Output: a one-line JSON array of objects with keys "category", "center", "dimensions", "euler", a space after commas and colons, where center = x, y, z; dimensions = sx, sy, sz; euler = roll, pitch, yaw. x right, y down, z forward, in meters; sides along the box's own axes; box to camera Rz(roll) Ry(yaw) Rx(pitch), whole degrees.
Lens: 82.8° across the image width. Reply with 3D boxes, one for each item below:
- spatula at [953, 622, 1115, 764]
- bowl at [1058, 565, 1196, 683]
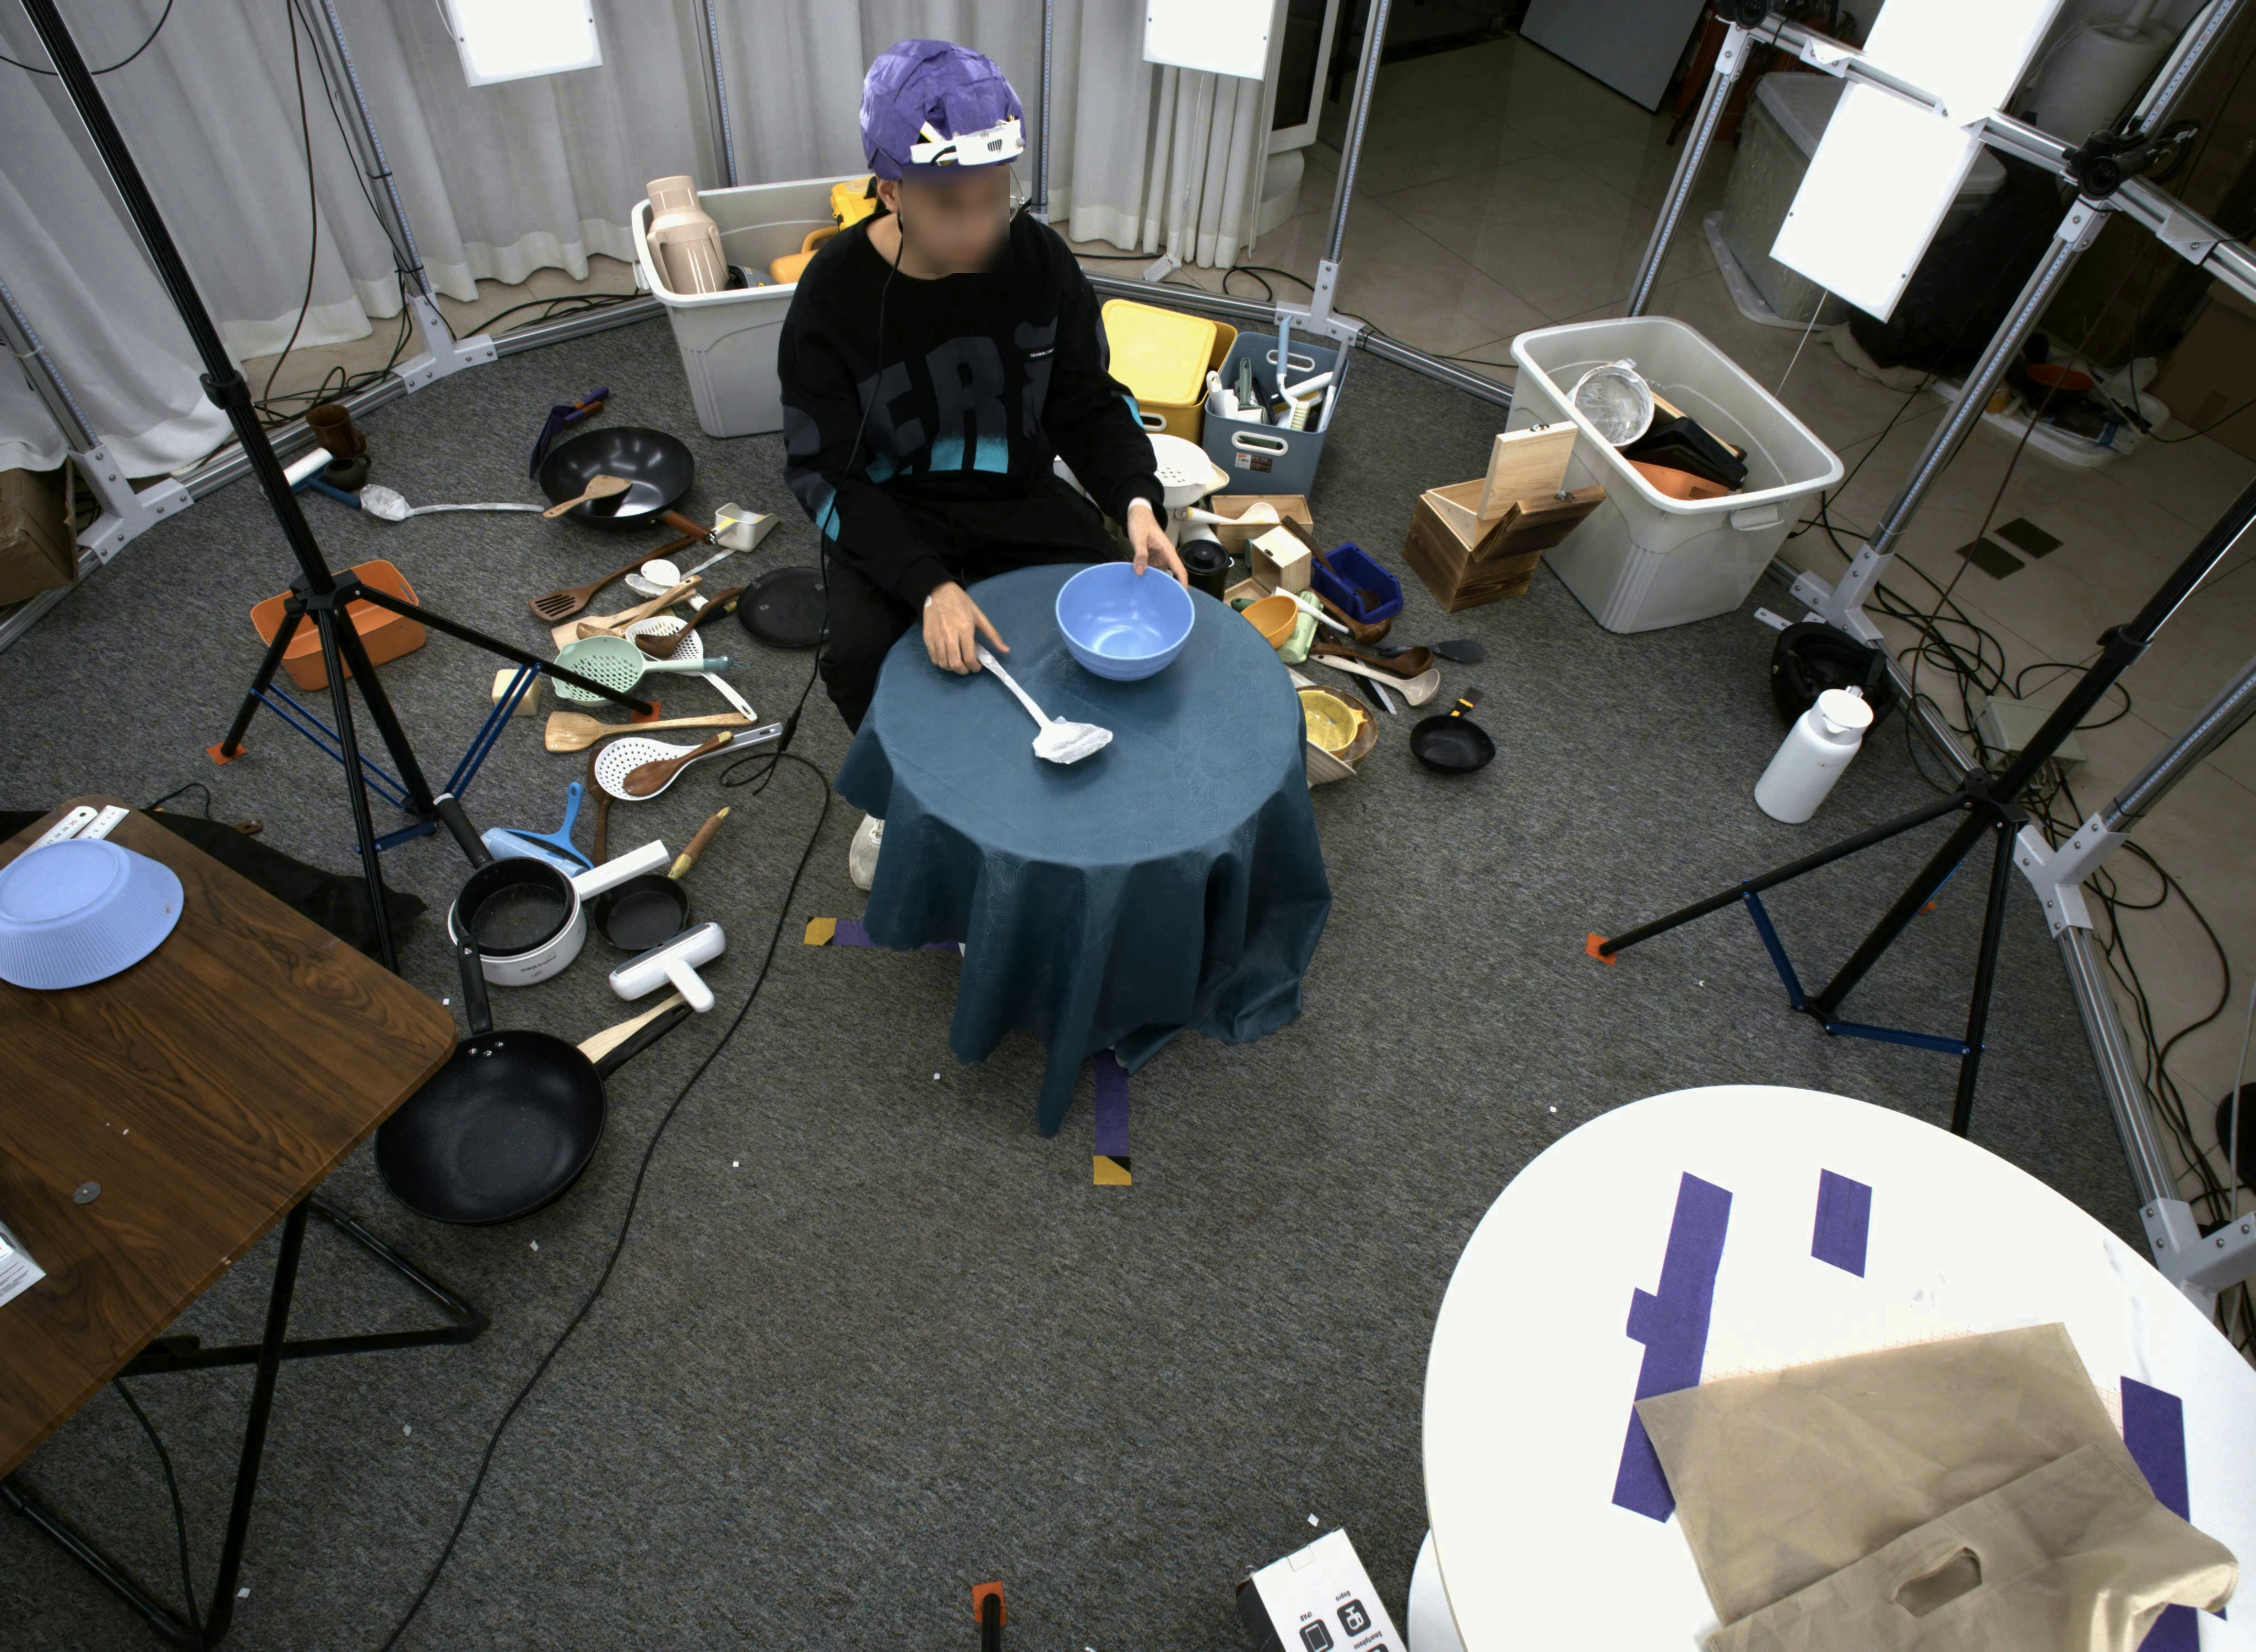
[{"category": "spatula", "center": [-0.155, -0.200, 1.823], "dimensions": [0.099, 0.043, 0.372], "euler": [-28, 56, -23]}, {"category": "bowl", "center": [-0.004, -0.277, 1.863], "dimensions": [0.196, 0.093, 0.201], "euler": [2, 52, -2]}]
